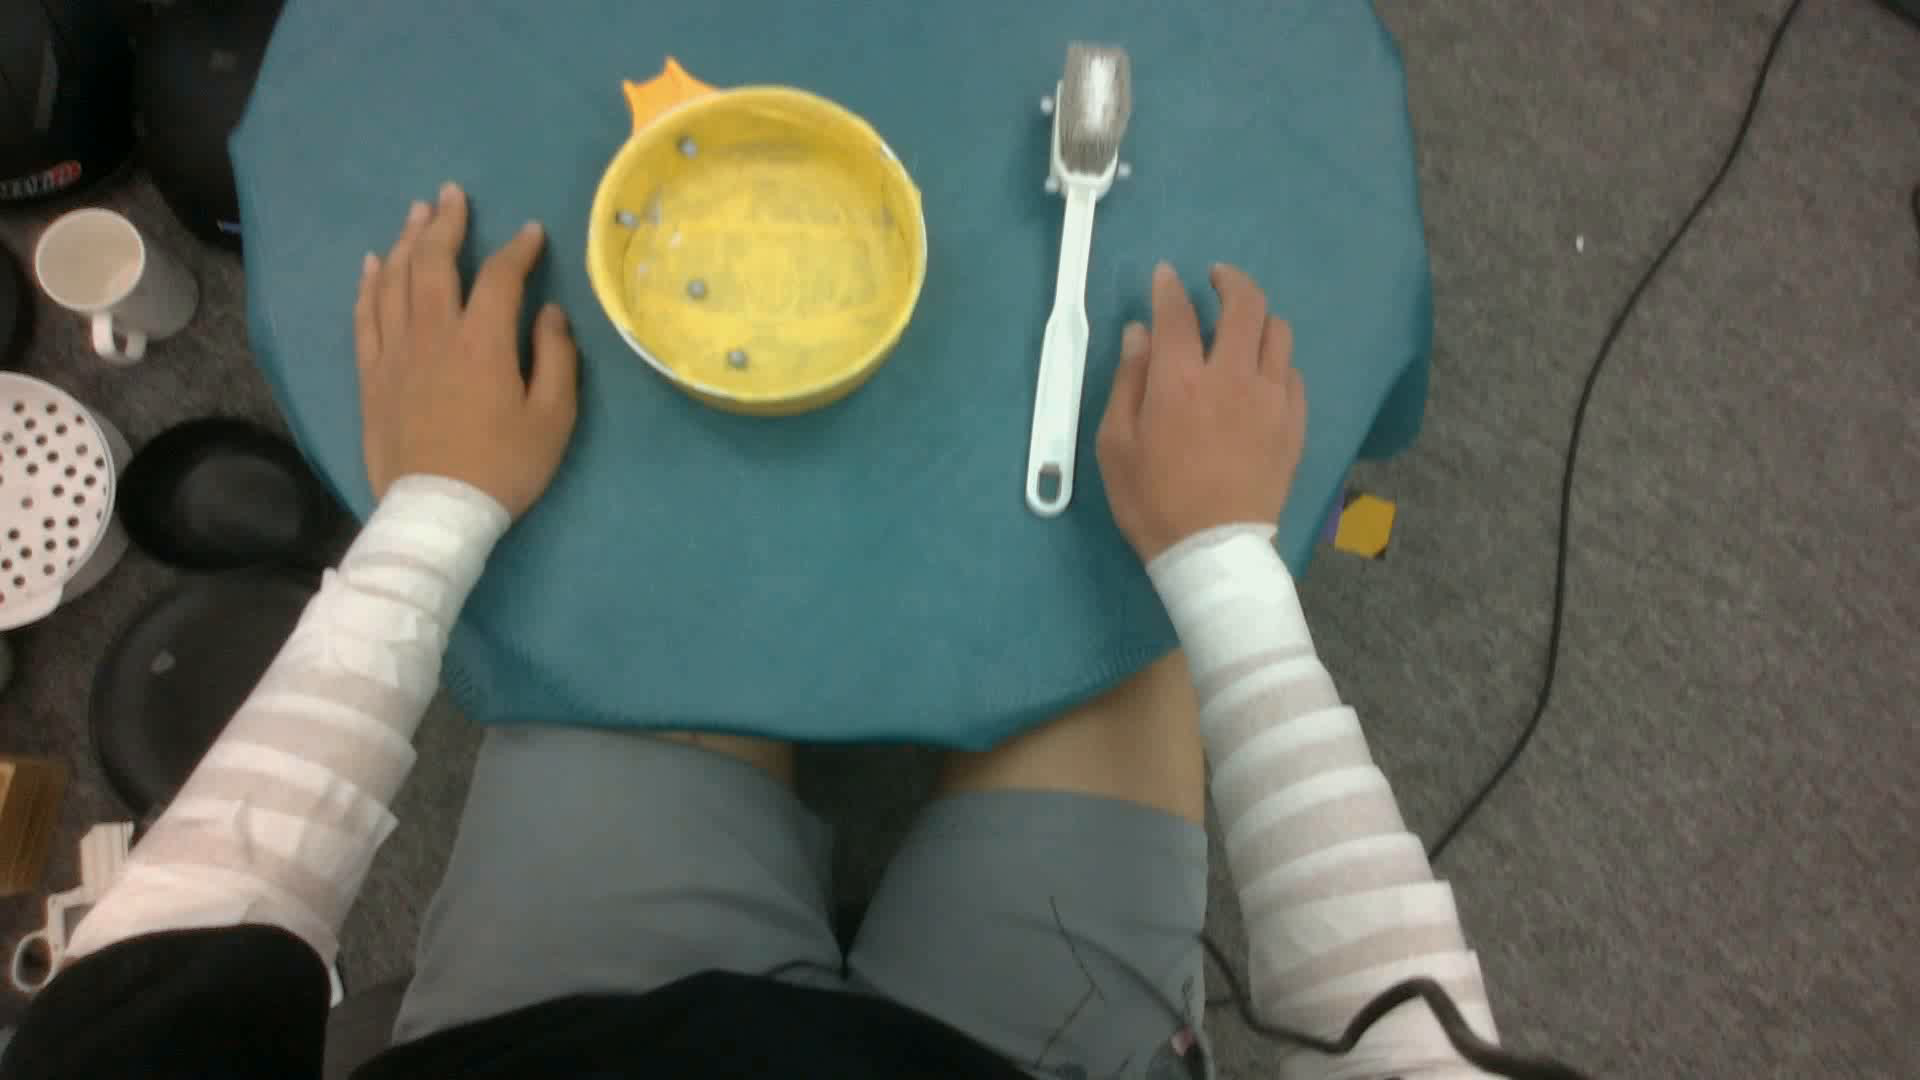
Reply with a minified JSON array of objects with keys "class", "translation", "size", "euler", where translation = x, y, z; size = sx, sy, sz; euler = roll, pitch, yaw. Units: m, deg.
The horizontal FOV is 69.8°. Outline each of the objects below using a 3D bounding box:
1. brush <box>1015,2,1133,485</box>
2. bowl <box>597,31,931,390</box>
[{"class":"brush","translation":[0.055,-0.150,0.683],"size":[0.034,0.050,0.244],"euler":[8,82,-5]},{"class":"bowl","translation":[-0.098,-0.158,0.664],"size":[0.153,0.074,0.179],"euler":[-36,87,-7]}]
